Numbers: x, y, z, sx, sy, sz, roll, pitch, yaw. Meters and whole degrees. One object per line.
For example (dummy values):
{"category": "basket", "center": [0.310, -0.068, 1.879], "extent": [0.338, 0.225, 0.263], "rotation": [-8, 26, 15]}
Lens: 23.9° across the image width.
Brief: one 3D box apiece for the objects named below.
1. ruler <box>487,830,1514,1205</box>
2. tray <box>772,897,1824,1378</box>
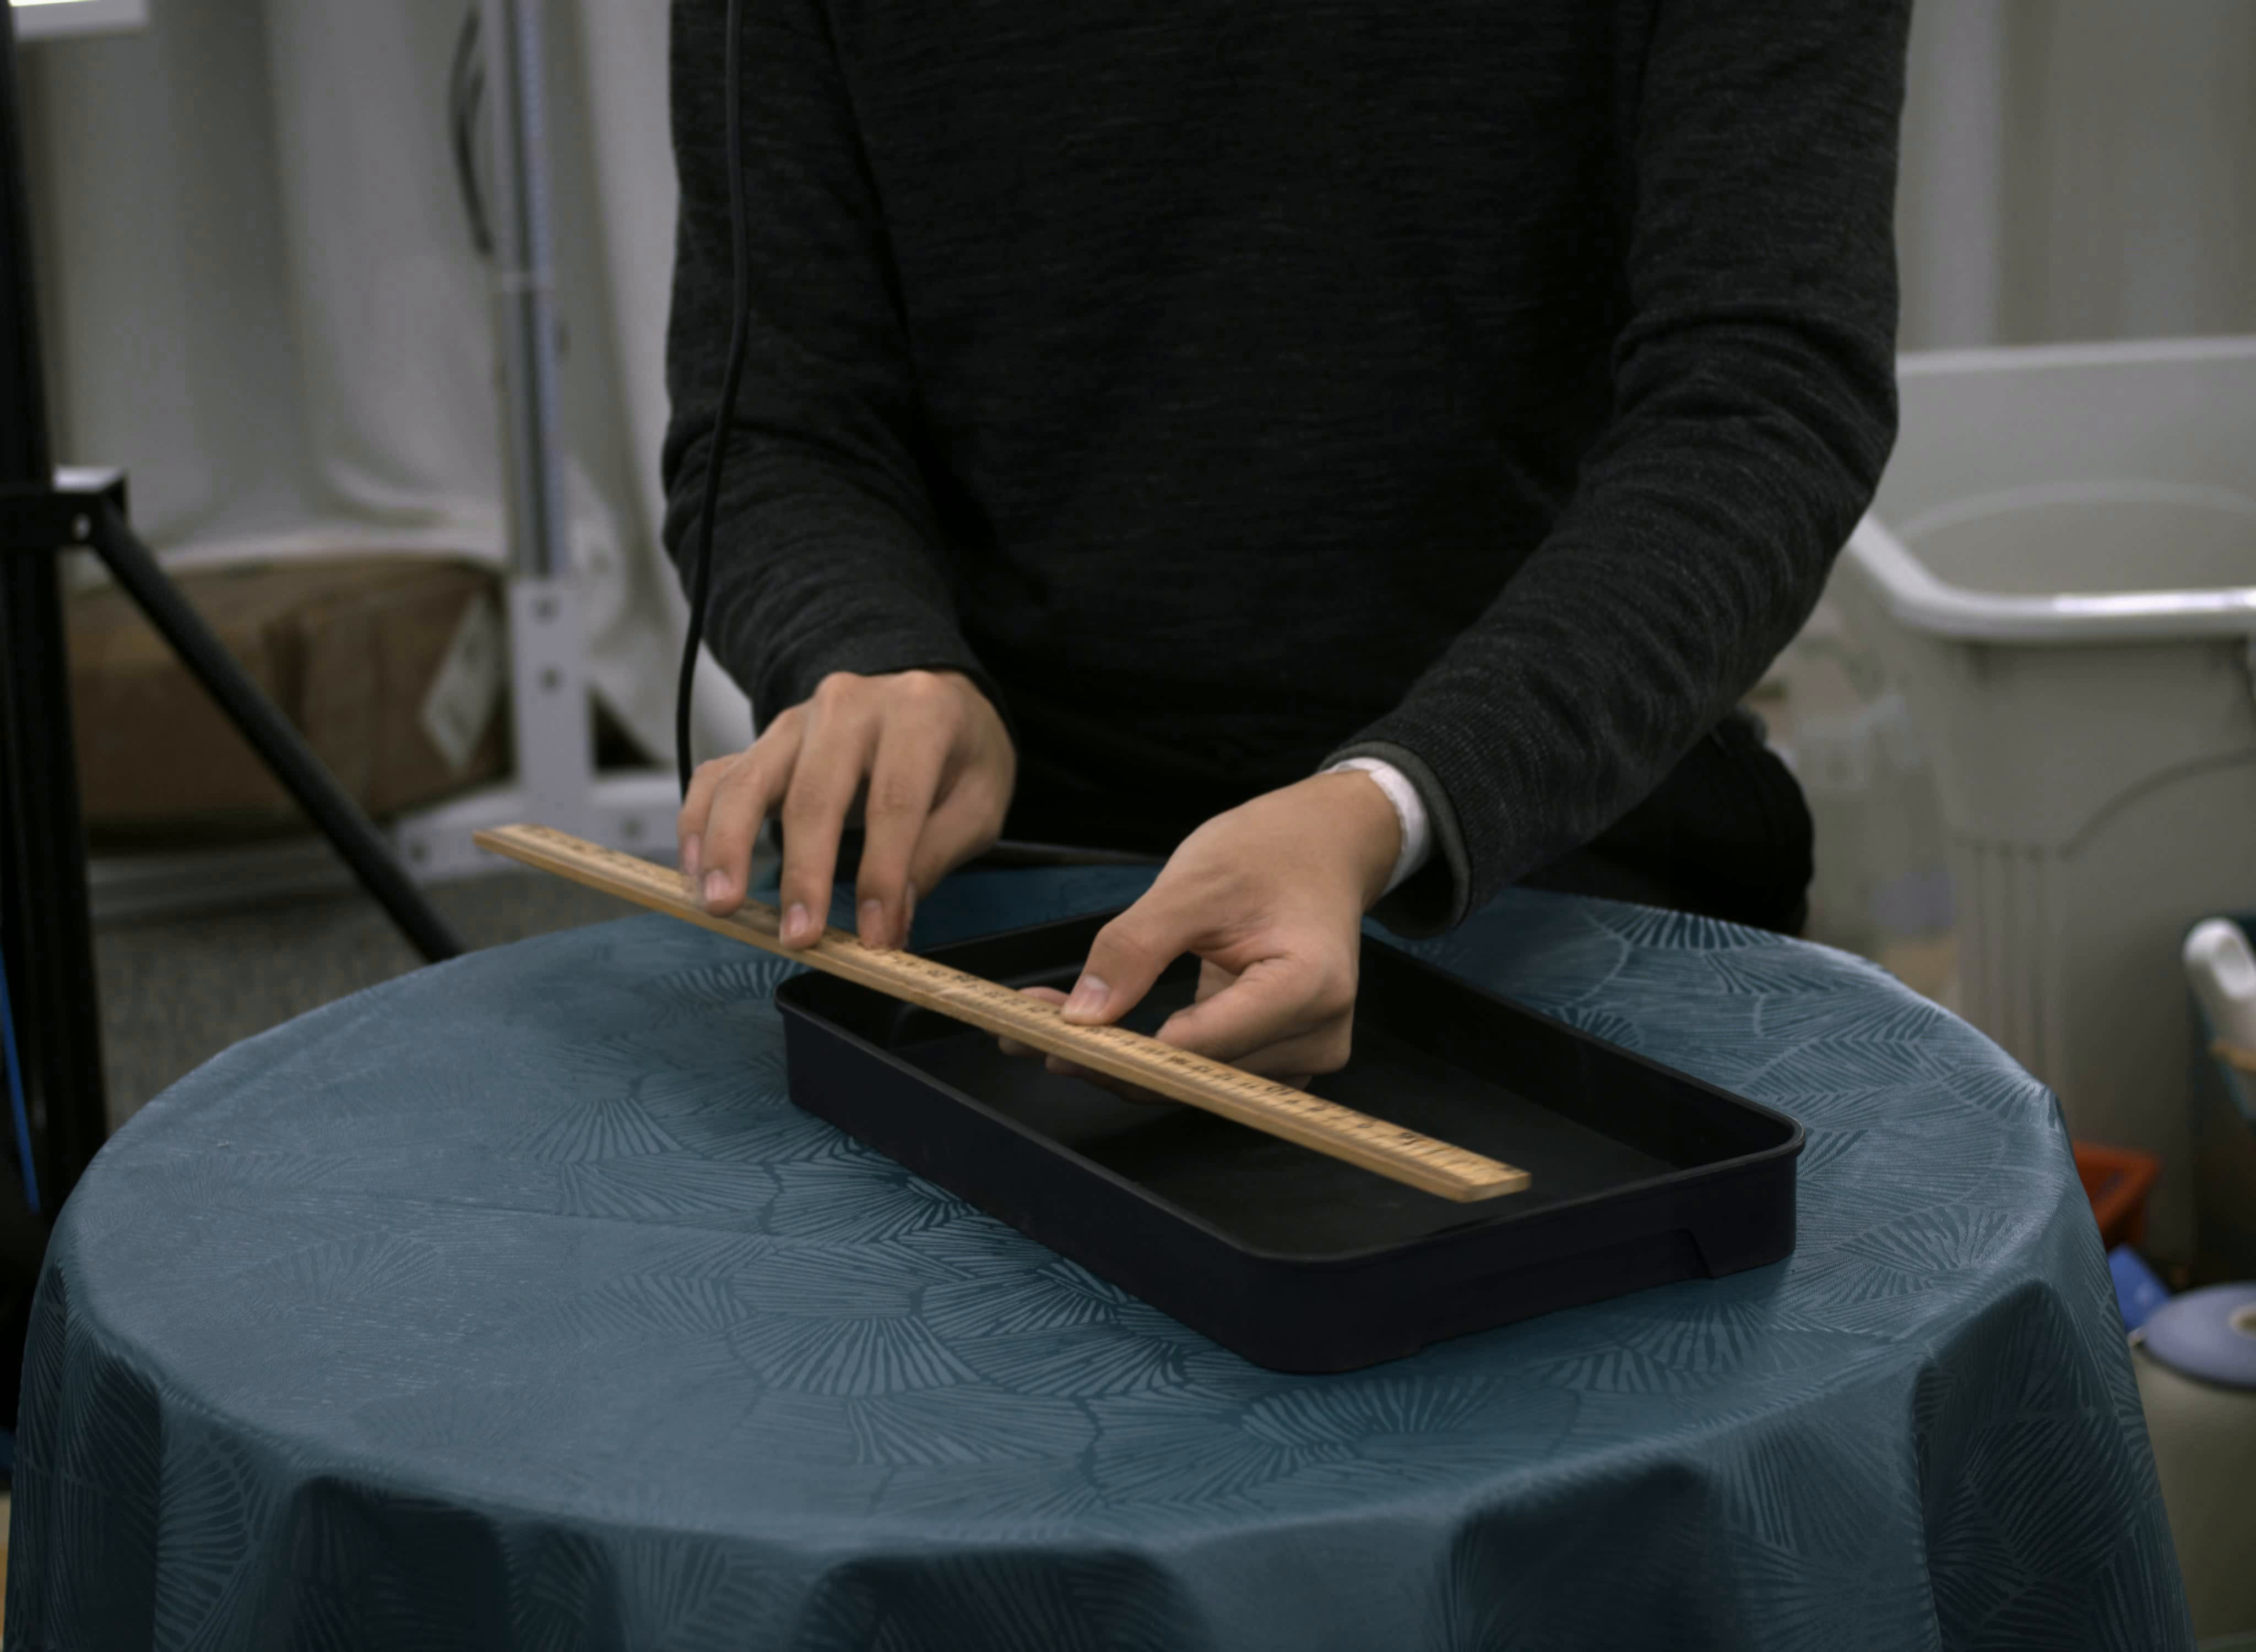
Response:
{"category": "ruler", "center": [-0.055, 0.050, 1.603], "extent": [0.026, 0.006, 0.512], "rotation": [-6, 14, -36]}
{"category": "tray", "center": [0.043, 0.086, 1.565], "extent": [0.180, 0.037, 0.325], "rotation": [-11, 17, -29]}
